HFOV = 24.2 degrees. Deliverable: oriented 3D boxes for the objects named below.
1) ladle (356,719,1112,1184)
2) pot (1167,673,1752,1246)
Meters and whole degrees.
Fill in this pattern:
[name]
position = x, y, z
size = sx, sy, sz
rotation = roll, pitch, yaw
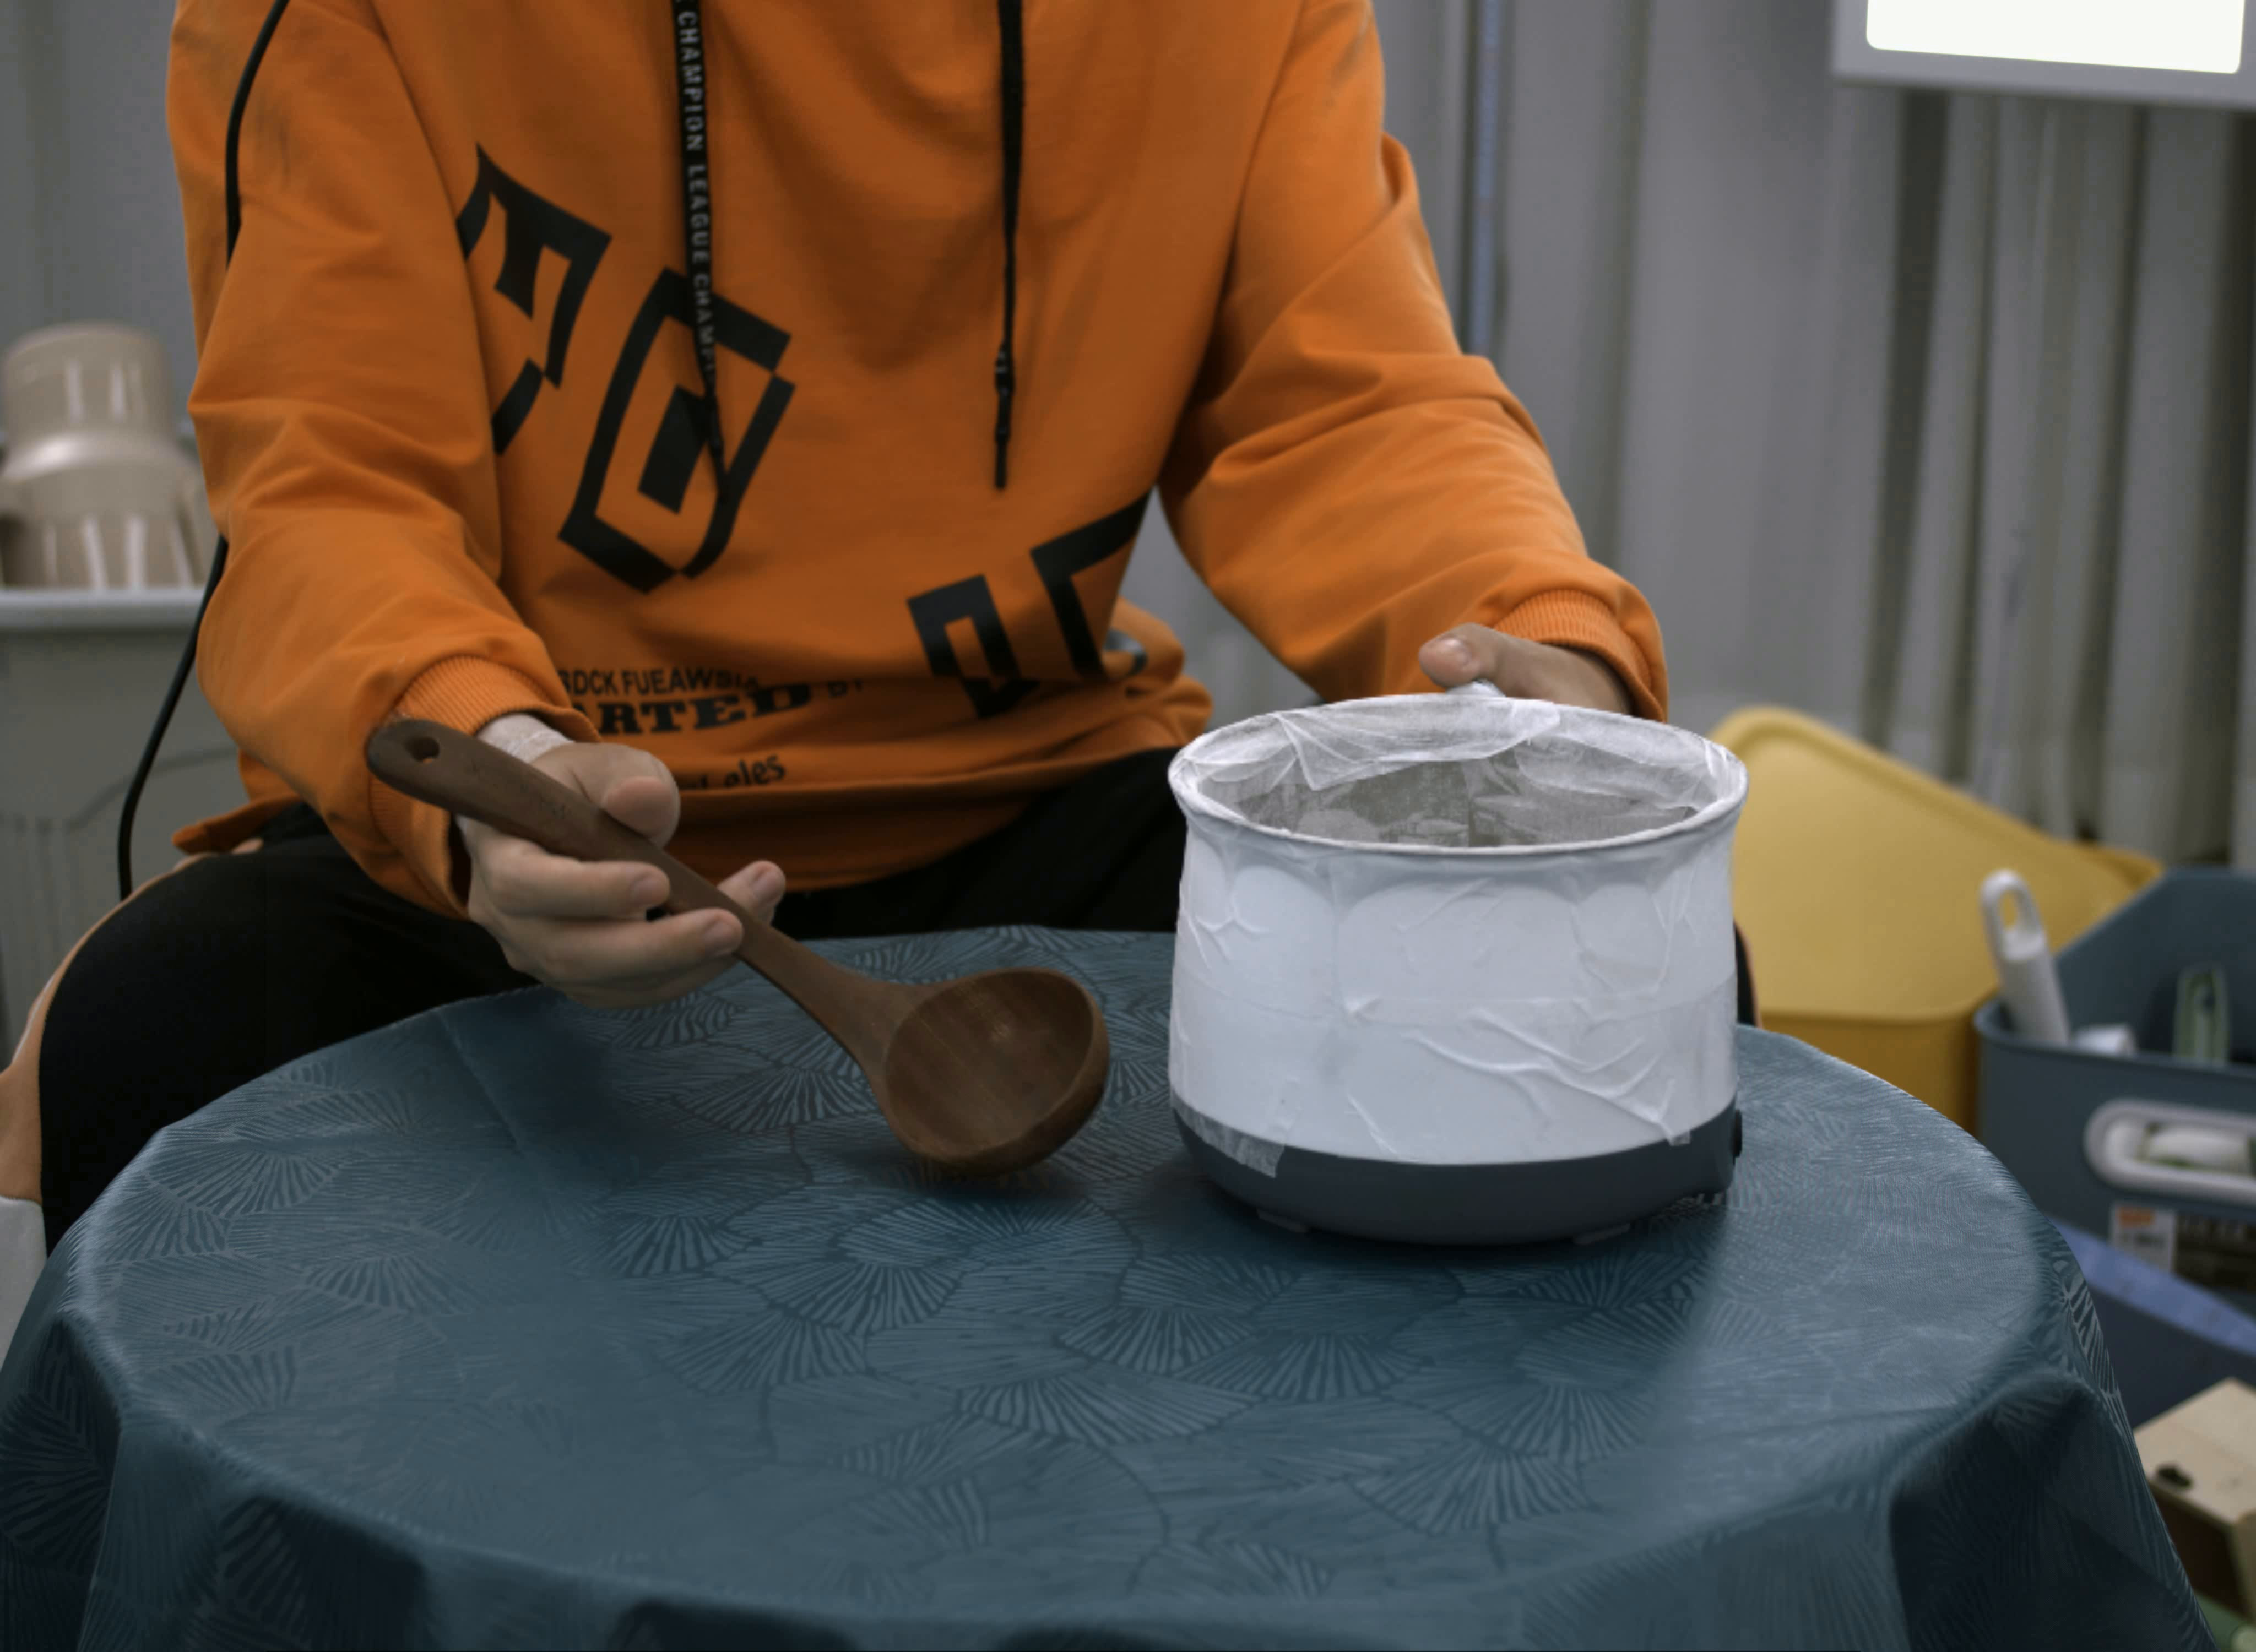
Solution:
[ladle]
position = -0.123, 0.027, 1.633
size = 0.260, 0.065, 0.076
rotation = 31, 59, 0
[pot]
position = 0.102, 0.036, 1.641
size = 0.178, 0.138, 0.233
rotation = 2, 16, 4
